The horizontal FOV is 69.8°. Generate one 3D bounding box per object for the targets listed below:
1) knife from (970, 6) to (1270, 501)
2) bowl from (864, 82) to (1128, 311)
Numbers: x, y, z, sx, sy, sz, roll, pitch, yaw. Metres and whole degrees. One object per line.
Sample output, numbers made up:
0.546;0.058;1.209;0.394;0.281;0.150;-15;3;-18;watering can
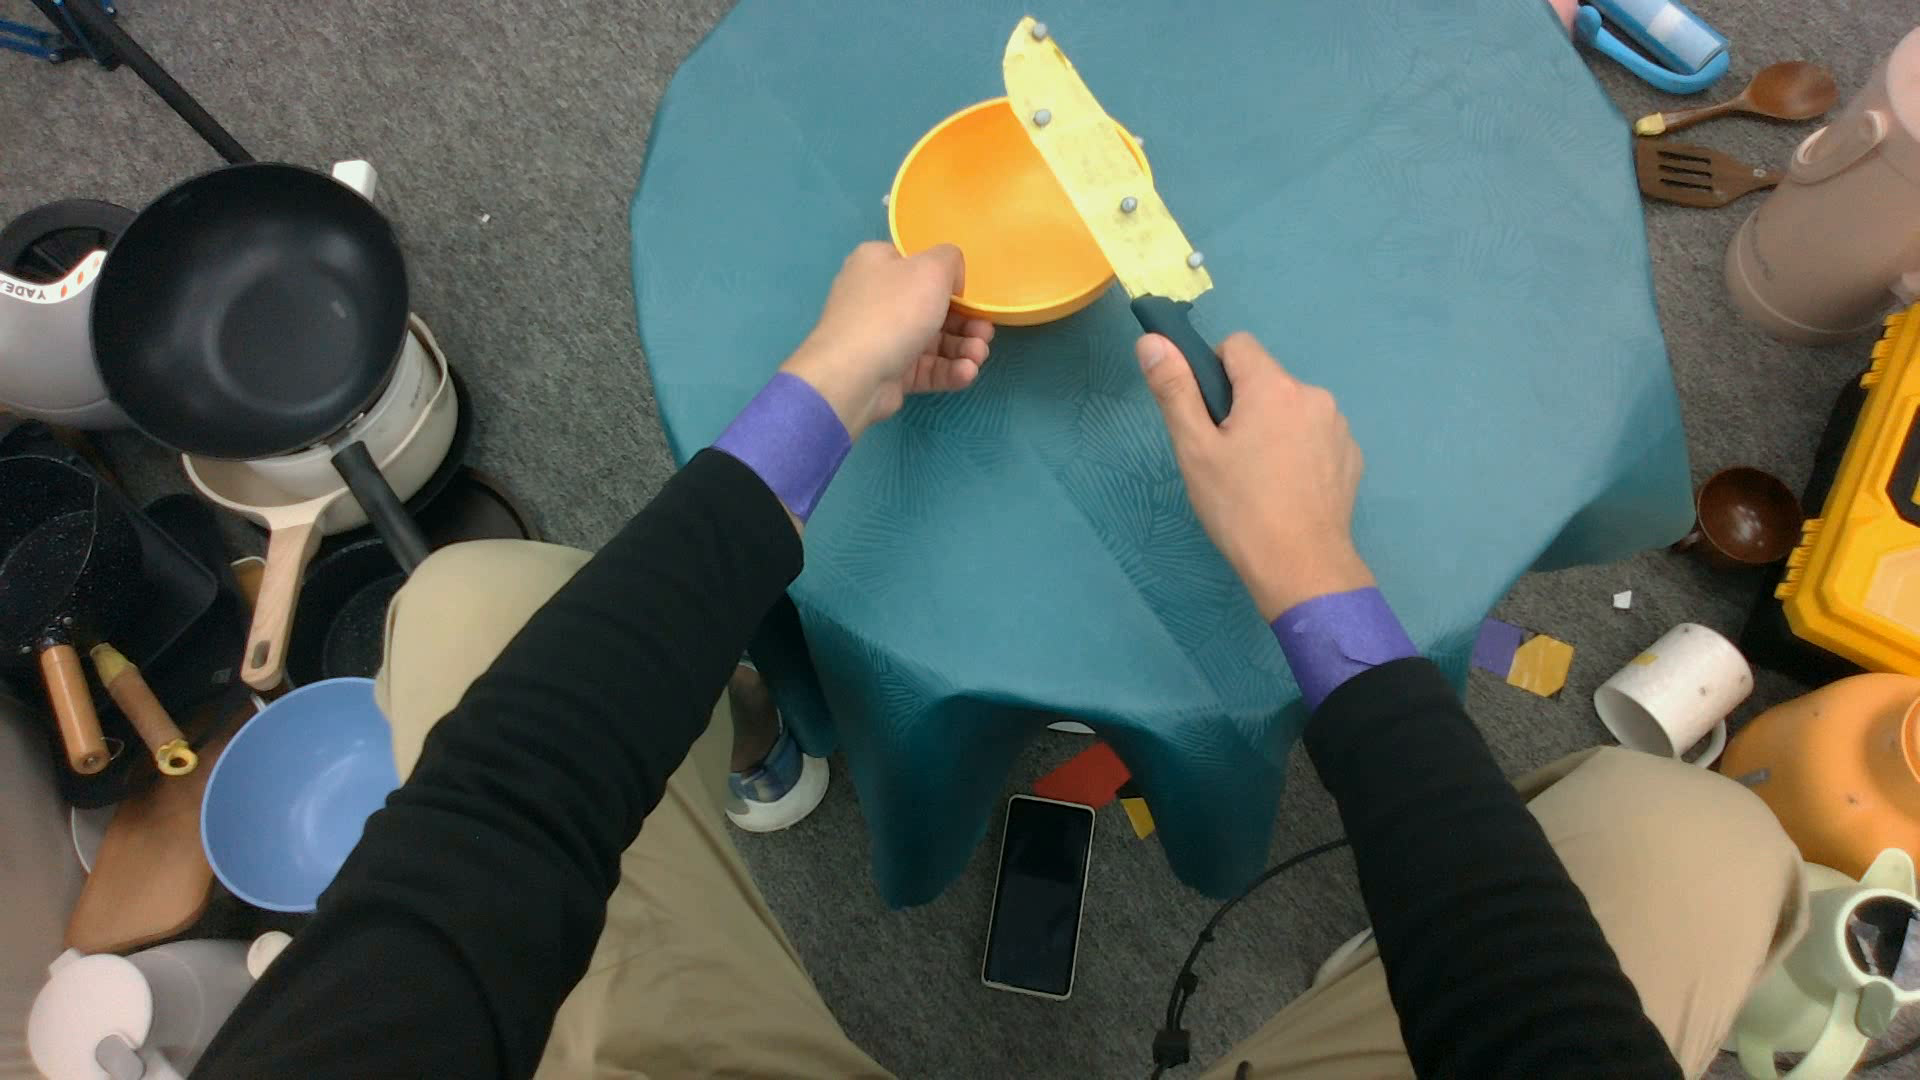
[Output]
0.086;-0.151;0.711;0.081;0.027;0.289;-31;91;-43;knife
0.023;-0.182;0.774;0.145;0.060;0.146;-3;67;7;bowl
